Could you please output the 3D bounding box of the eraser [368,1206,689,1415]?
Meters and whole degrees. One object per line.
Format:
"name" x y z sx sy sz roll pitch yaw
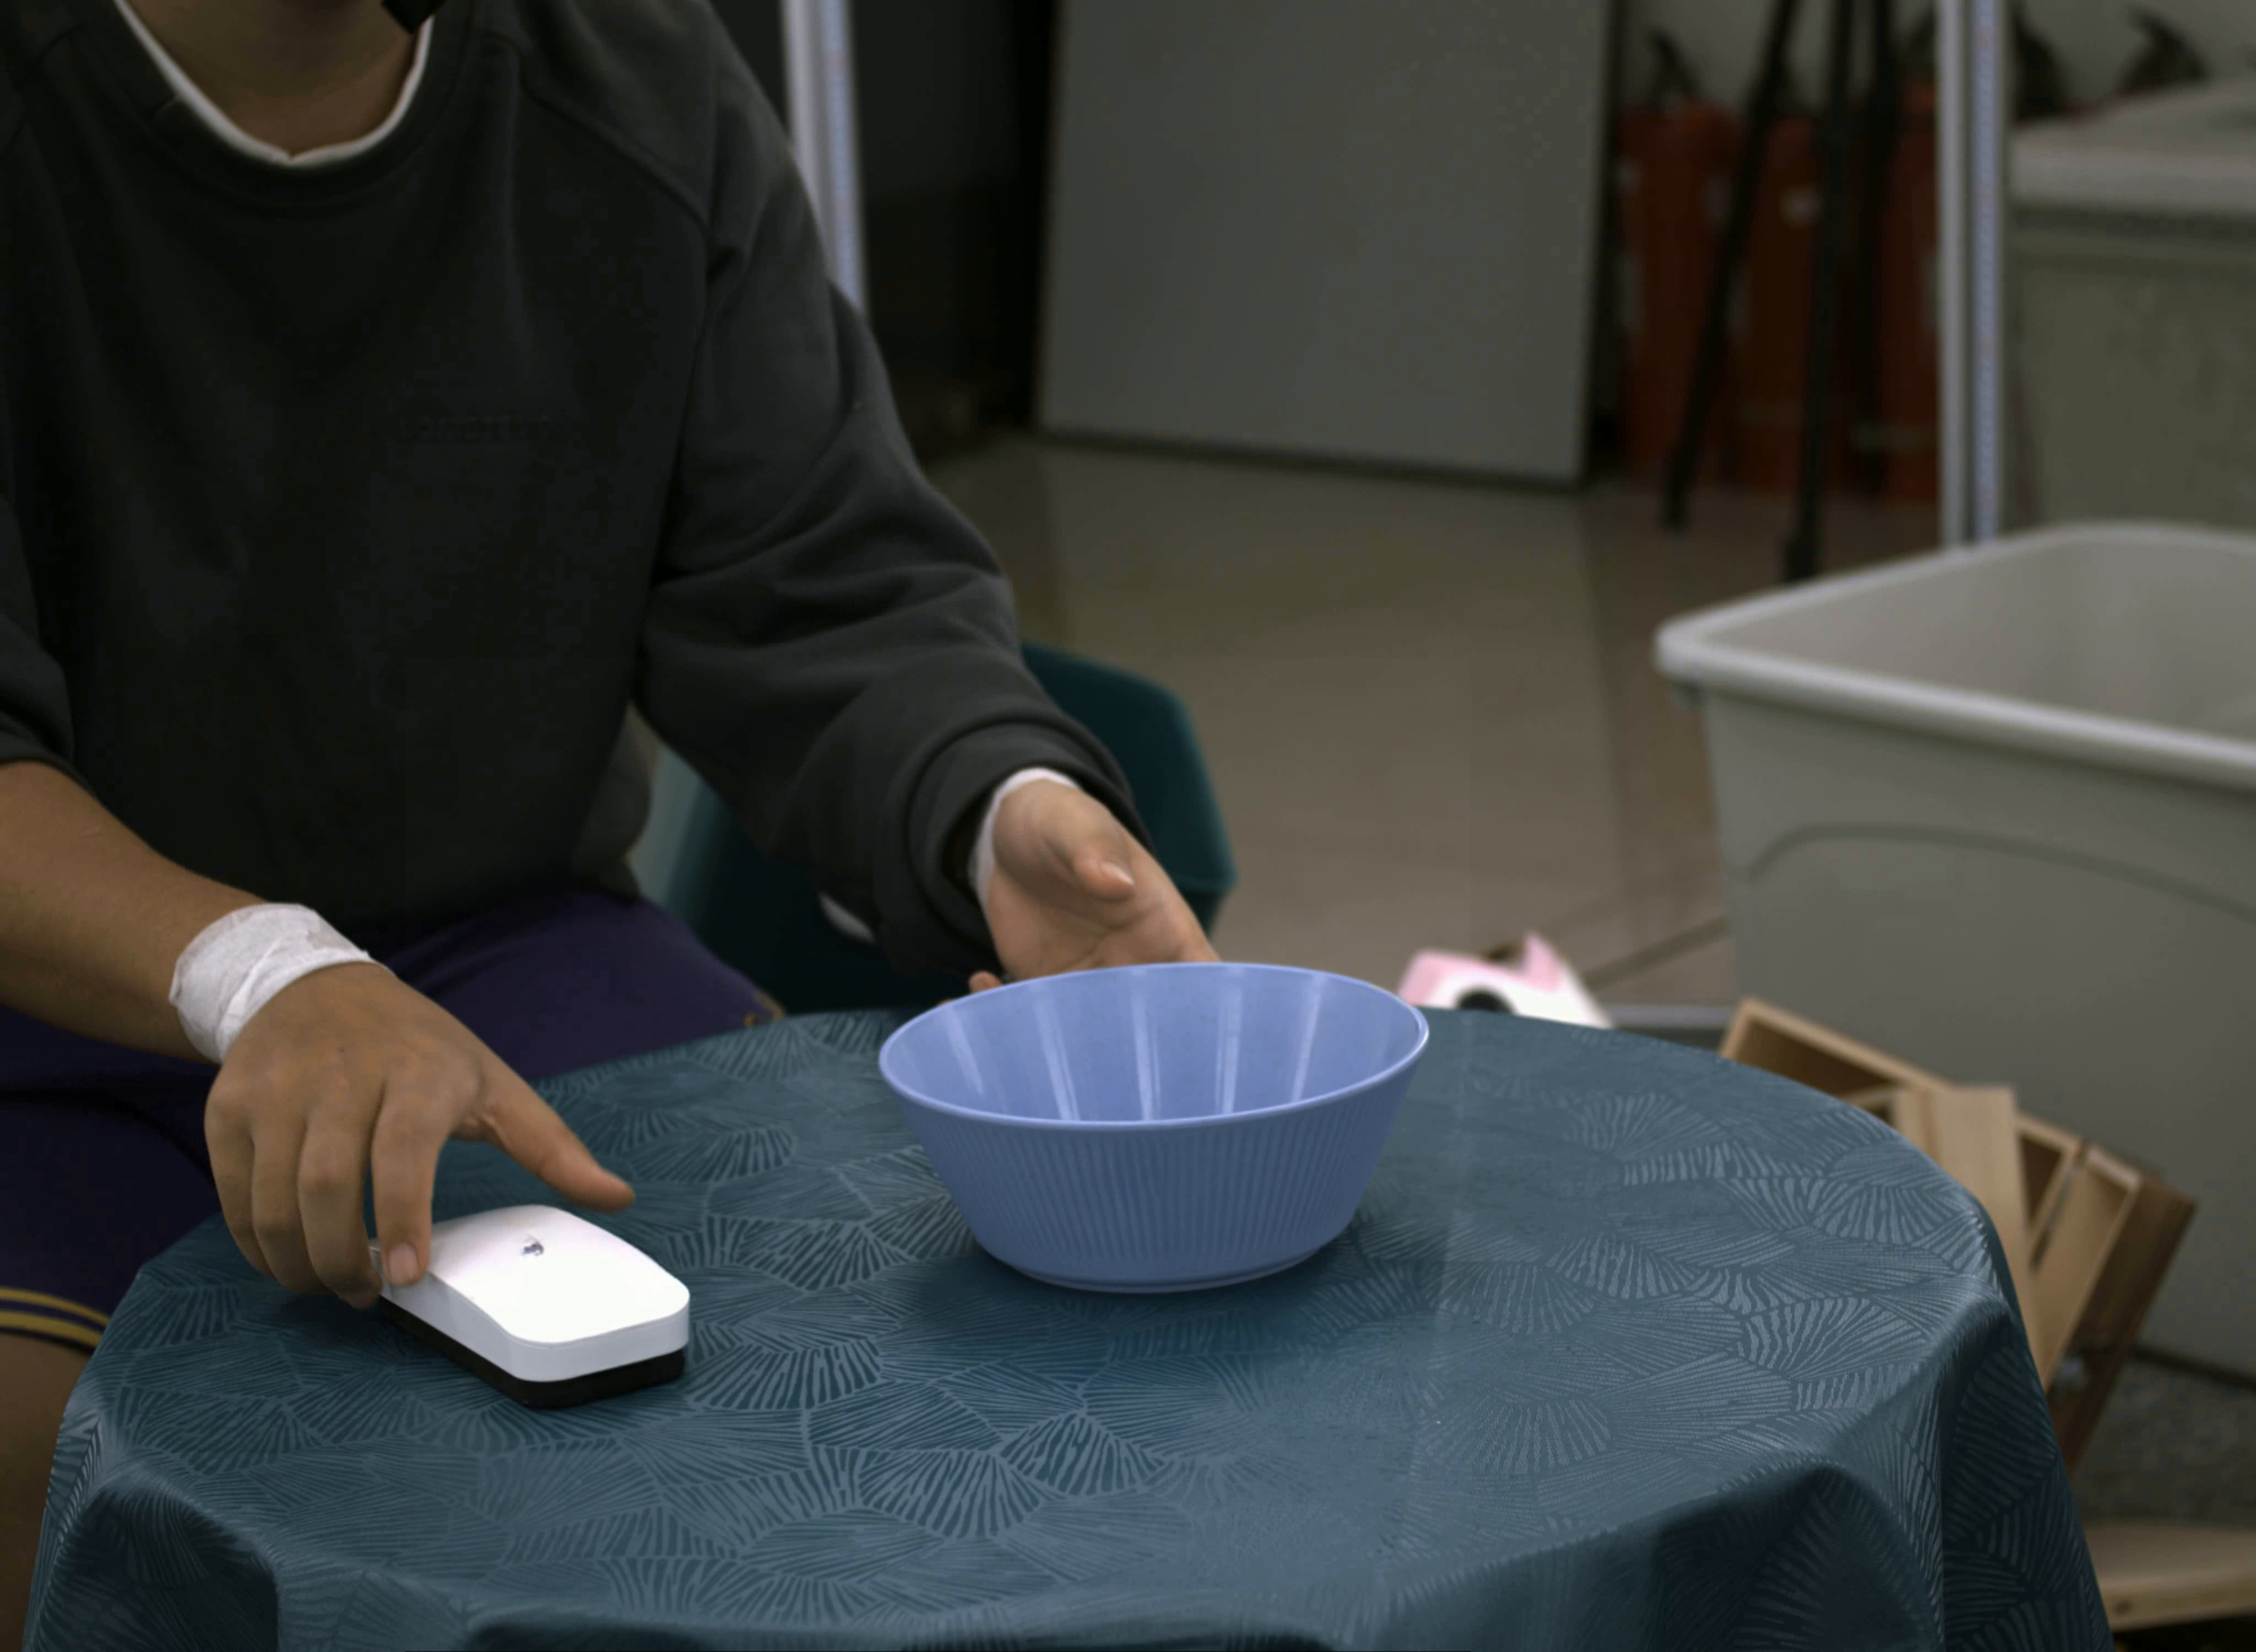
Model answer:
"eraser" -0.183 0.144 1.659 0.062 0.035 0.133 -9 16 -28

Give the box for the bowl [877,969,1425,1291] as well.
"bowl" 0.009 0.098 1.710 0.174 0.071 0.176 -3 13 0
